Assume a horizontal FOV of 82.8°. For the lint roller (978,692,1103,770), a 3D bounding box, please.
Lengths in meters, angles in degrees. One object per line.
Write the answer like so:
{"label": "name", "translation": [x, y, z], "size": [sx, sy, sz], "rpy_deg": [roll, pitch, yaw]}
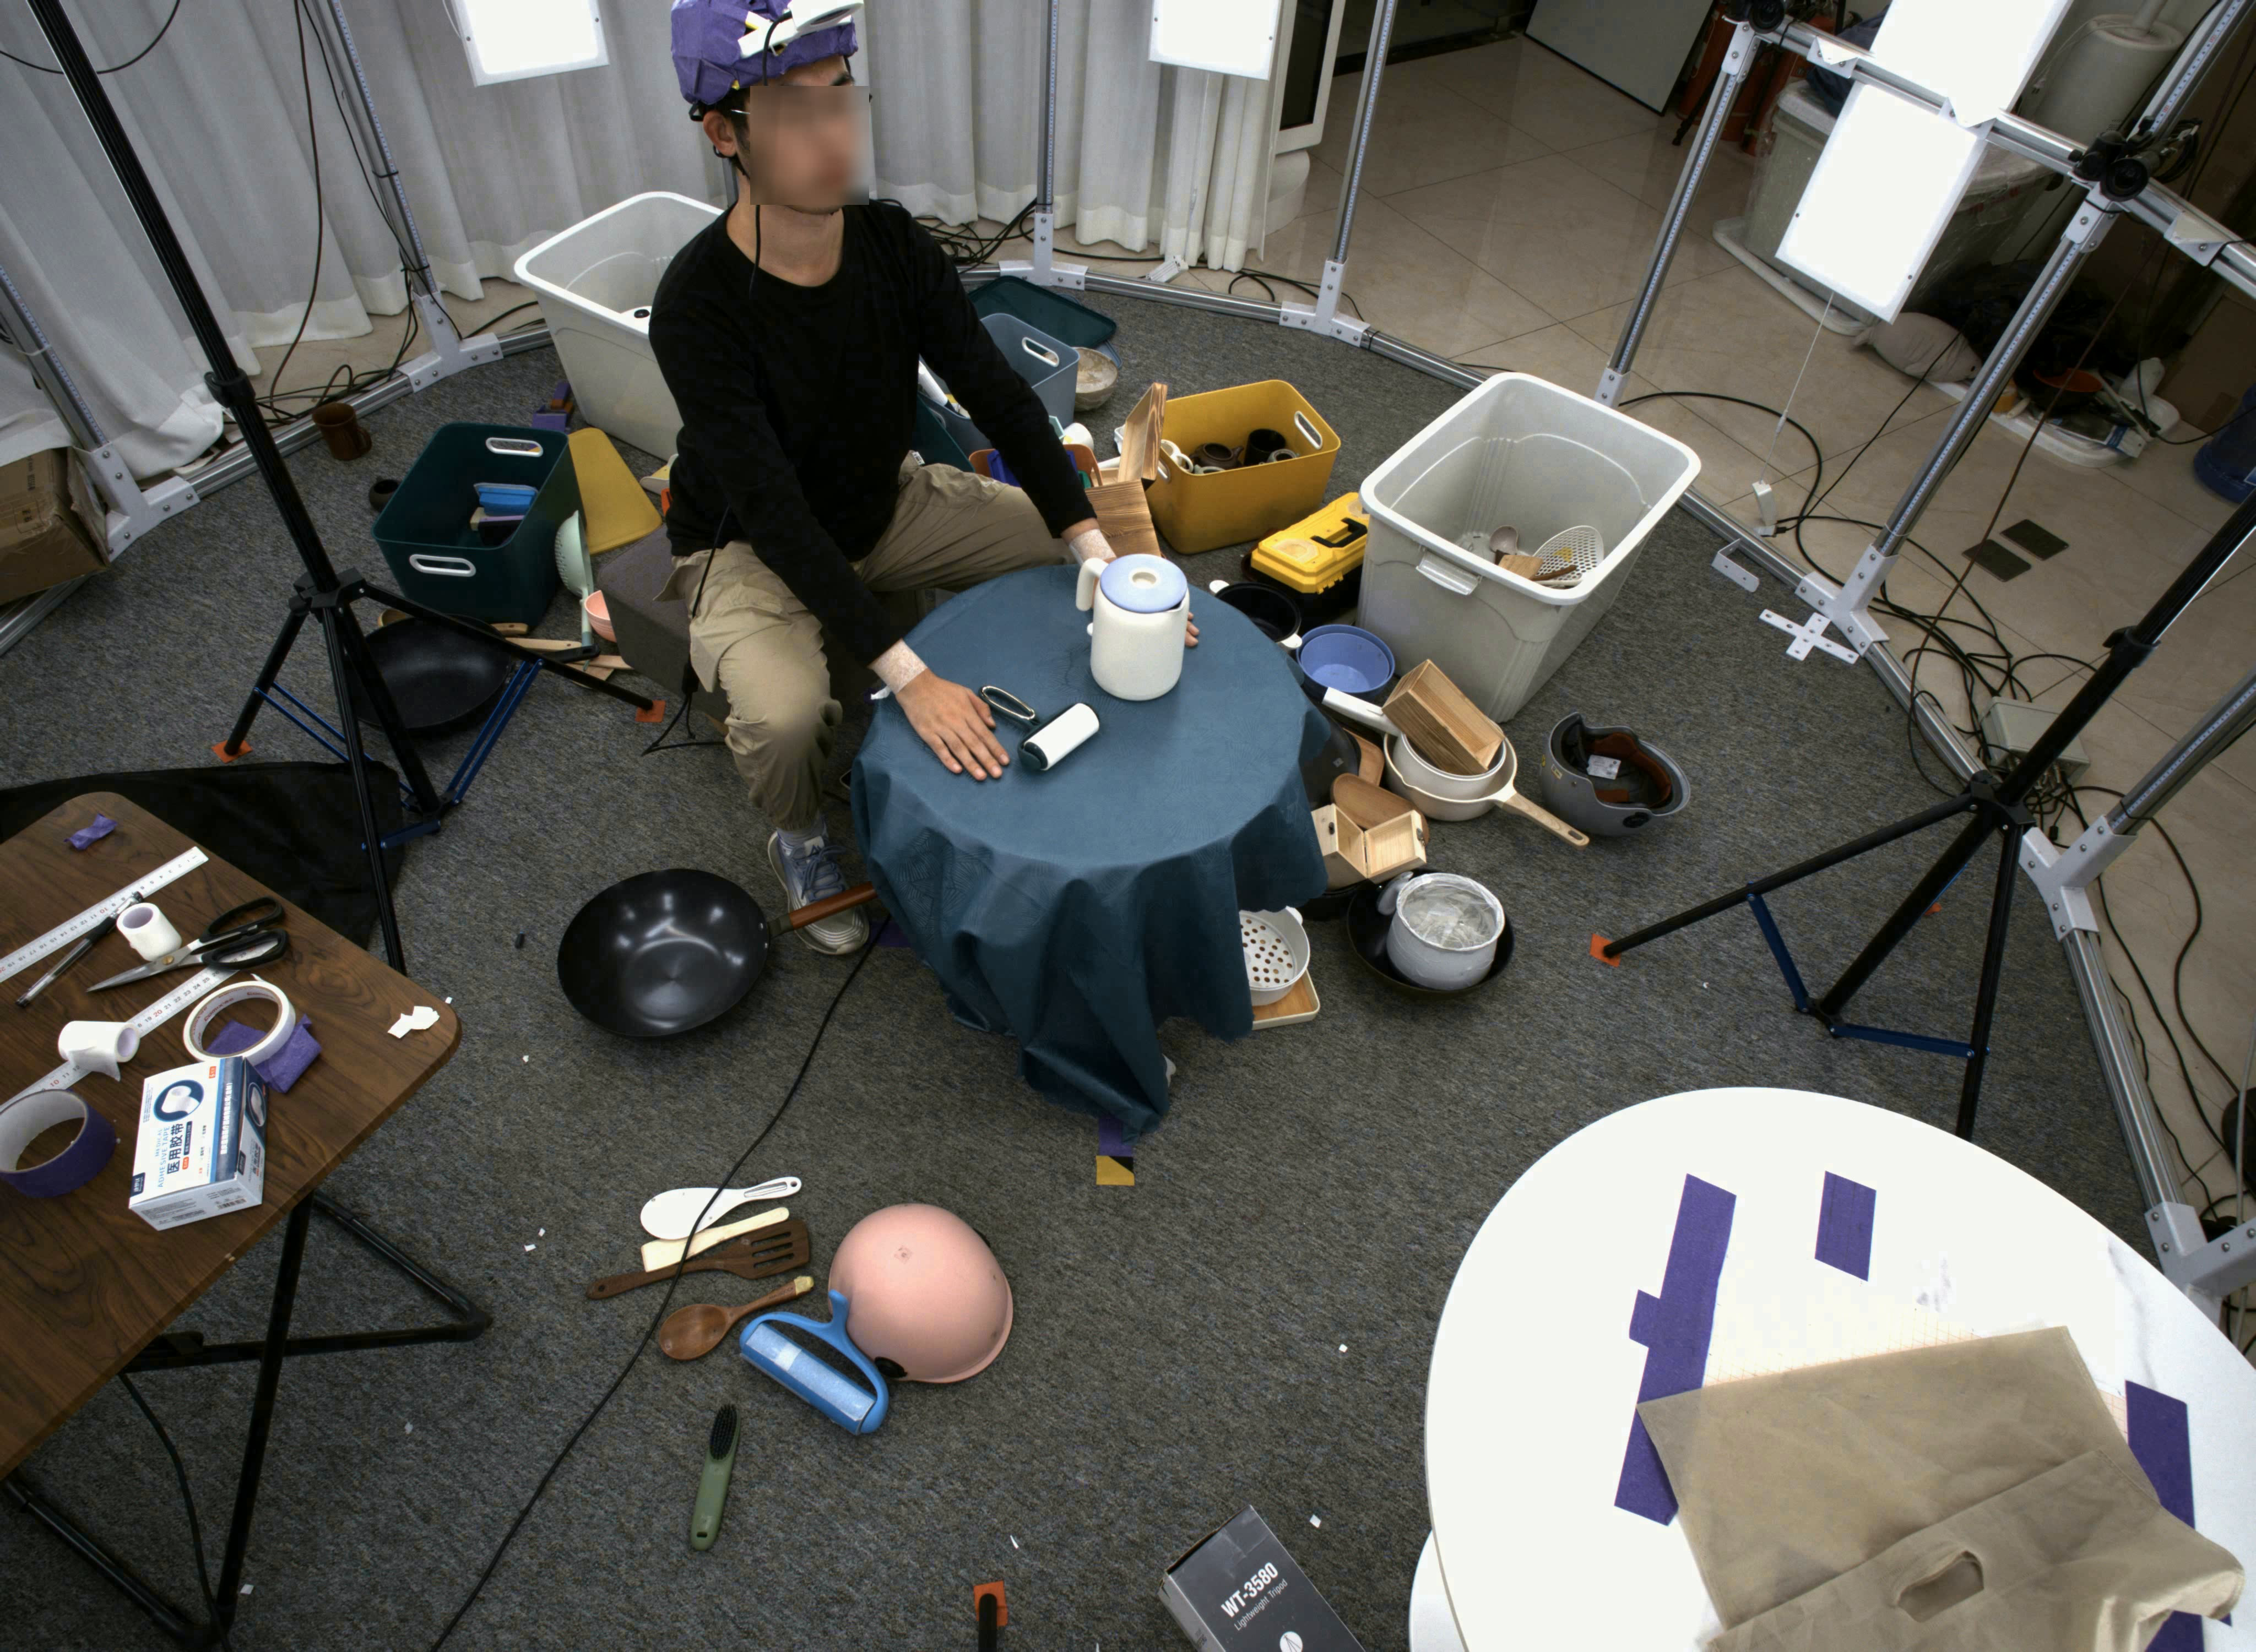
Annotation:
{"label": "lint roller", "translation": [-0.141, -0.156, 1.769], "size": [0.182, 0.047, 0.136], "rpy_deg": [34, 55, 27]}

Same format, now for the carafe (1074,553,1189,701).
{"label": "carafe", "translation": [-0.002, -0.291, 1.812], "size": [0.194, 0.178, 0.133], "rpy_deg": [35, 55, 26]}
